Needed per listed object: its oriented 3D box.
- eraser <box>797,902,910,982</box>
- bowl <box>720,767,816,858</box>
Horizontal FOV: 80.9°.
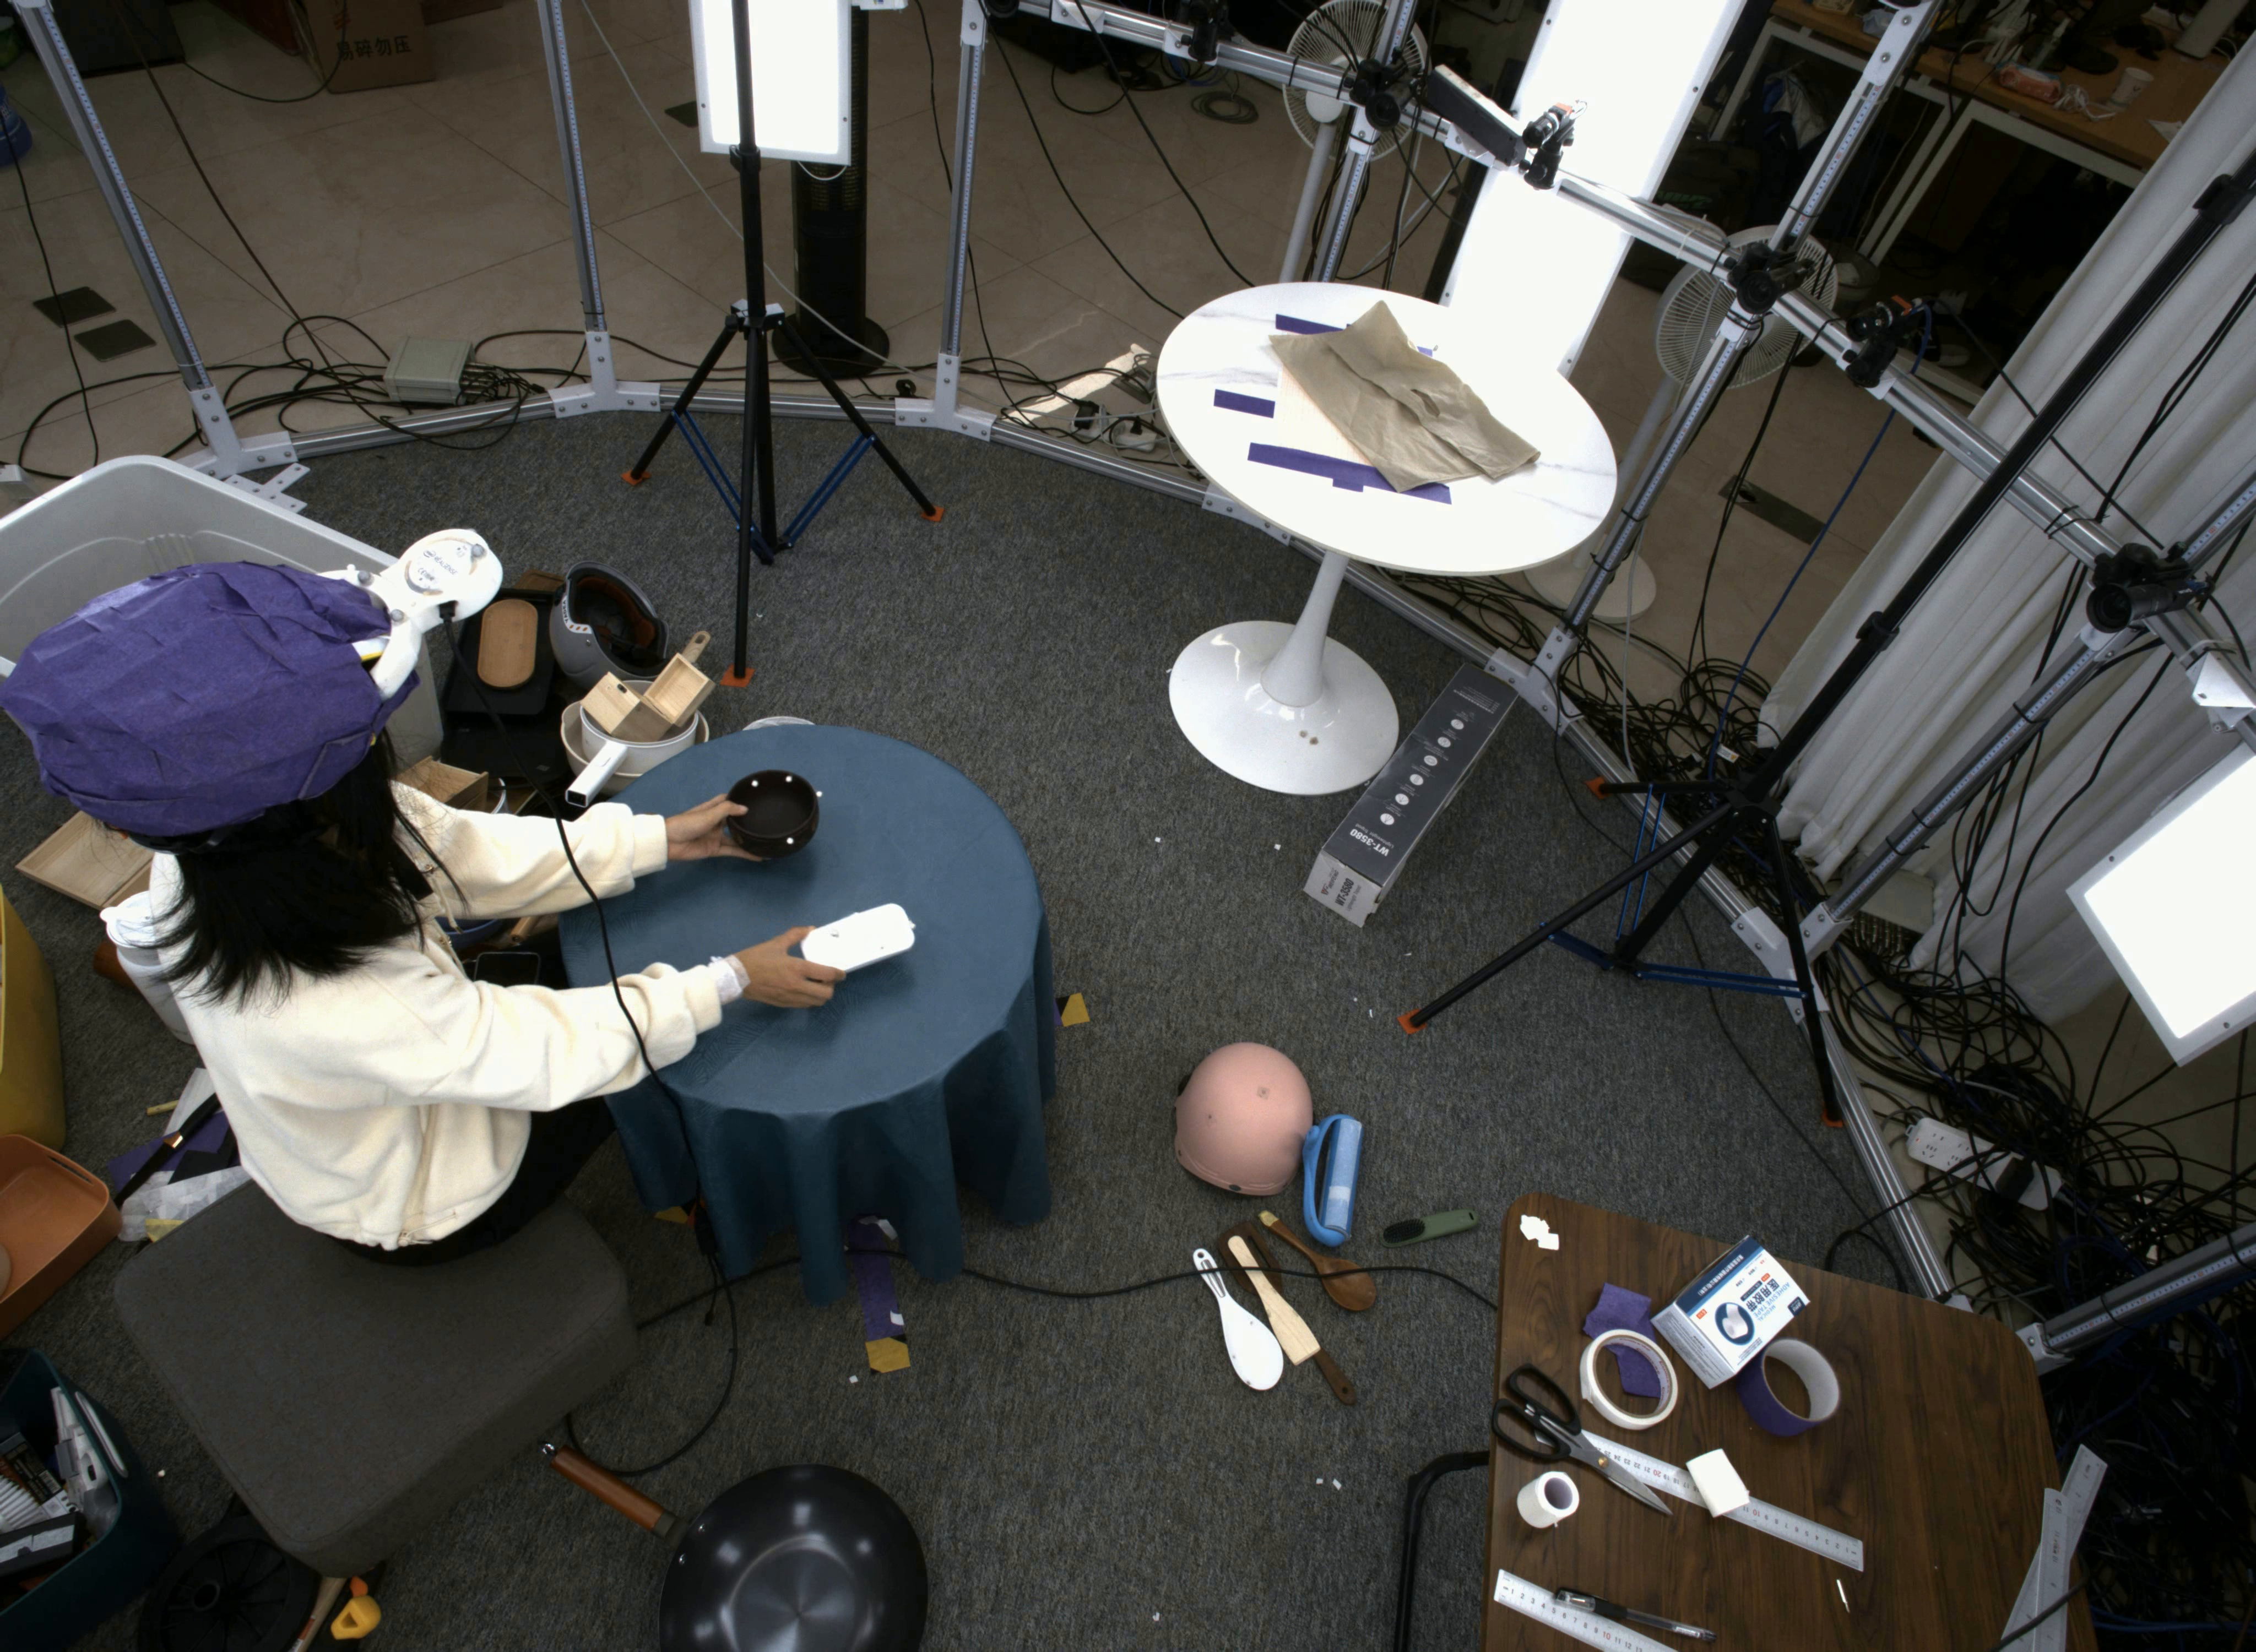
[{"bbox_3d":[-0.332,0.137,1.571,0.131,0.035,0.062,-21,72,-18],"label":"eraser"},{"bbox_3d":[-0.453,-0.010,1.641,0.117,0.072,0.116,4,50,-3],"label":"bowl"}]
